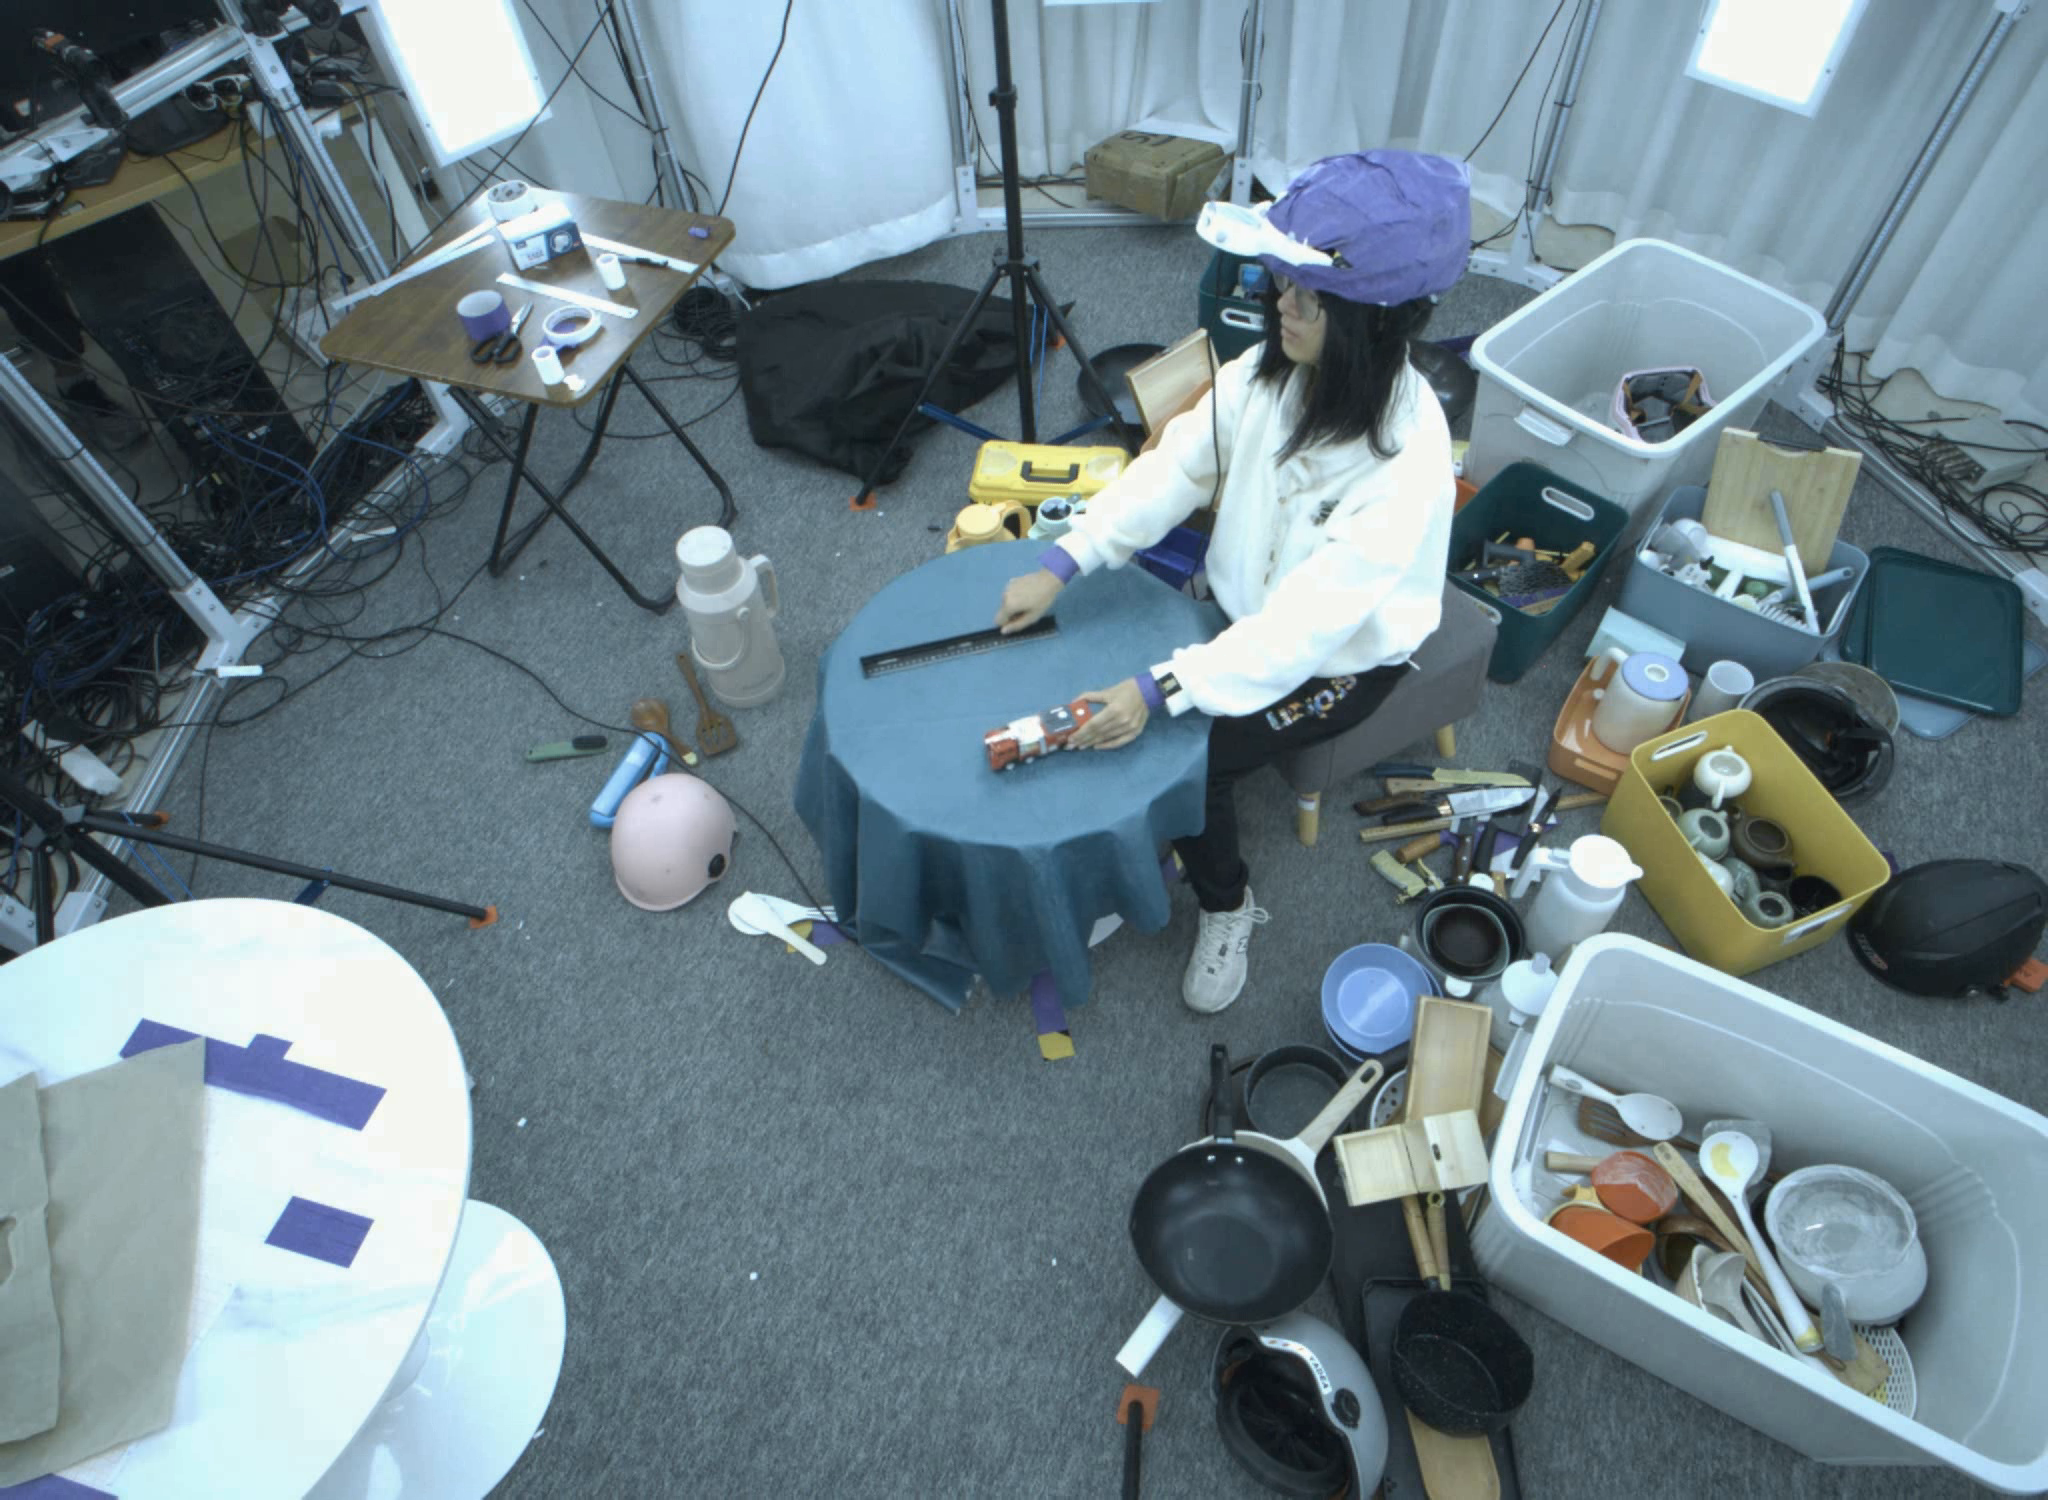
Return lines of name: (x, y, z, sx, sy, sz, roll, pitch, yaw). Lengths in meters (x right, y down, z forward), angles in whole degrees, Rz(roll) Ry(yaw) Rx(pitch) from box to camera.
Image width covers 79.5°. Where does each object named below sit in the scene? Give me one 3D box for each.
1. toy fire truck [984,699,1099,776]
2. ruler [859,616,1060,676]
toy fire truck: (0.023, -0.019, 1.764, 0.169, 0.071, 0.053, -18, 56, -12)
ruler: (-0.100, -0.163, 1.896, 0.314, 0.017, 0.038, -12, 58, -7)
